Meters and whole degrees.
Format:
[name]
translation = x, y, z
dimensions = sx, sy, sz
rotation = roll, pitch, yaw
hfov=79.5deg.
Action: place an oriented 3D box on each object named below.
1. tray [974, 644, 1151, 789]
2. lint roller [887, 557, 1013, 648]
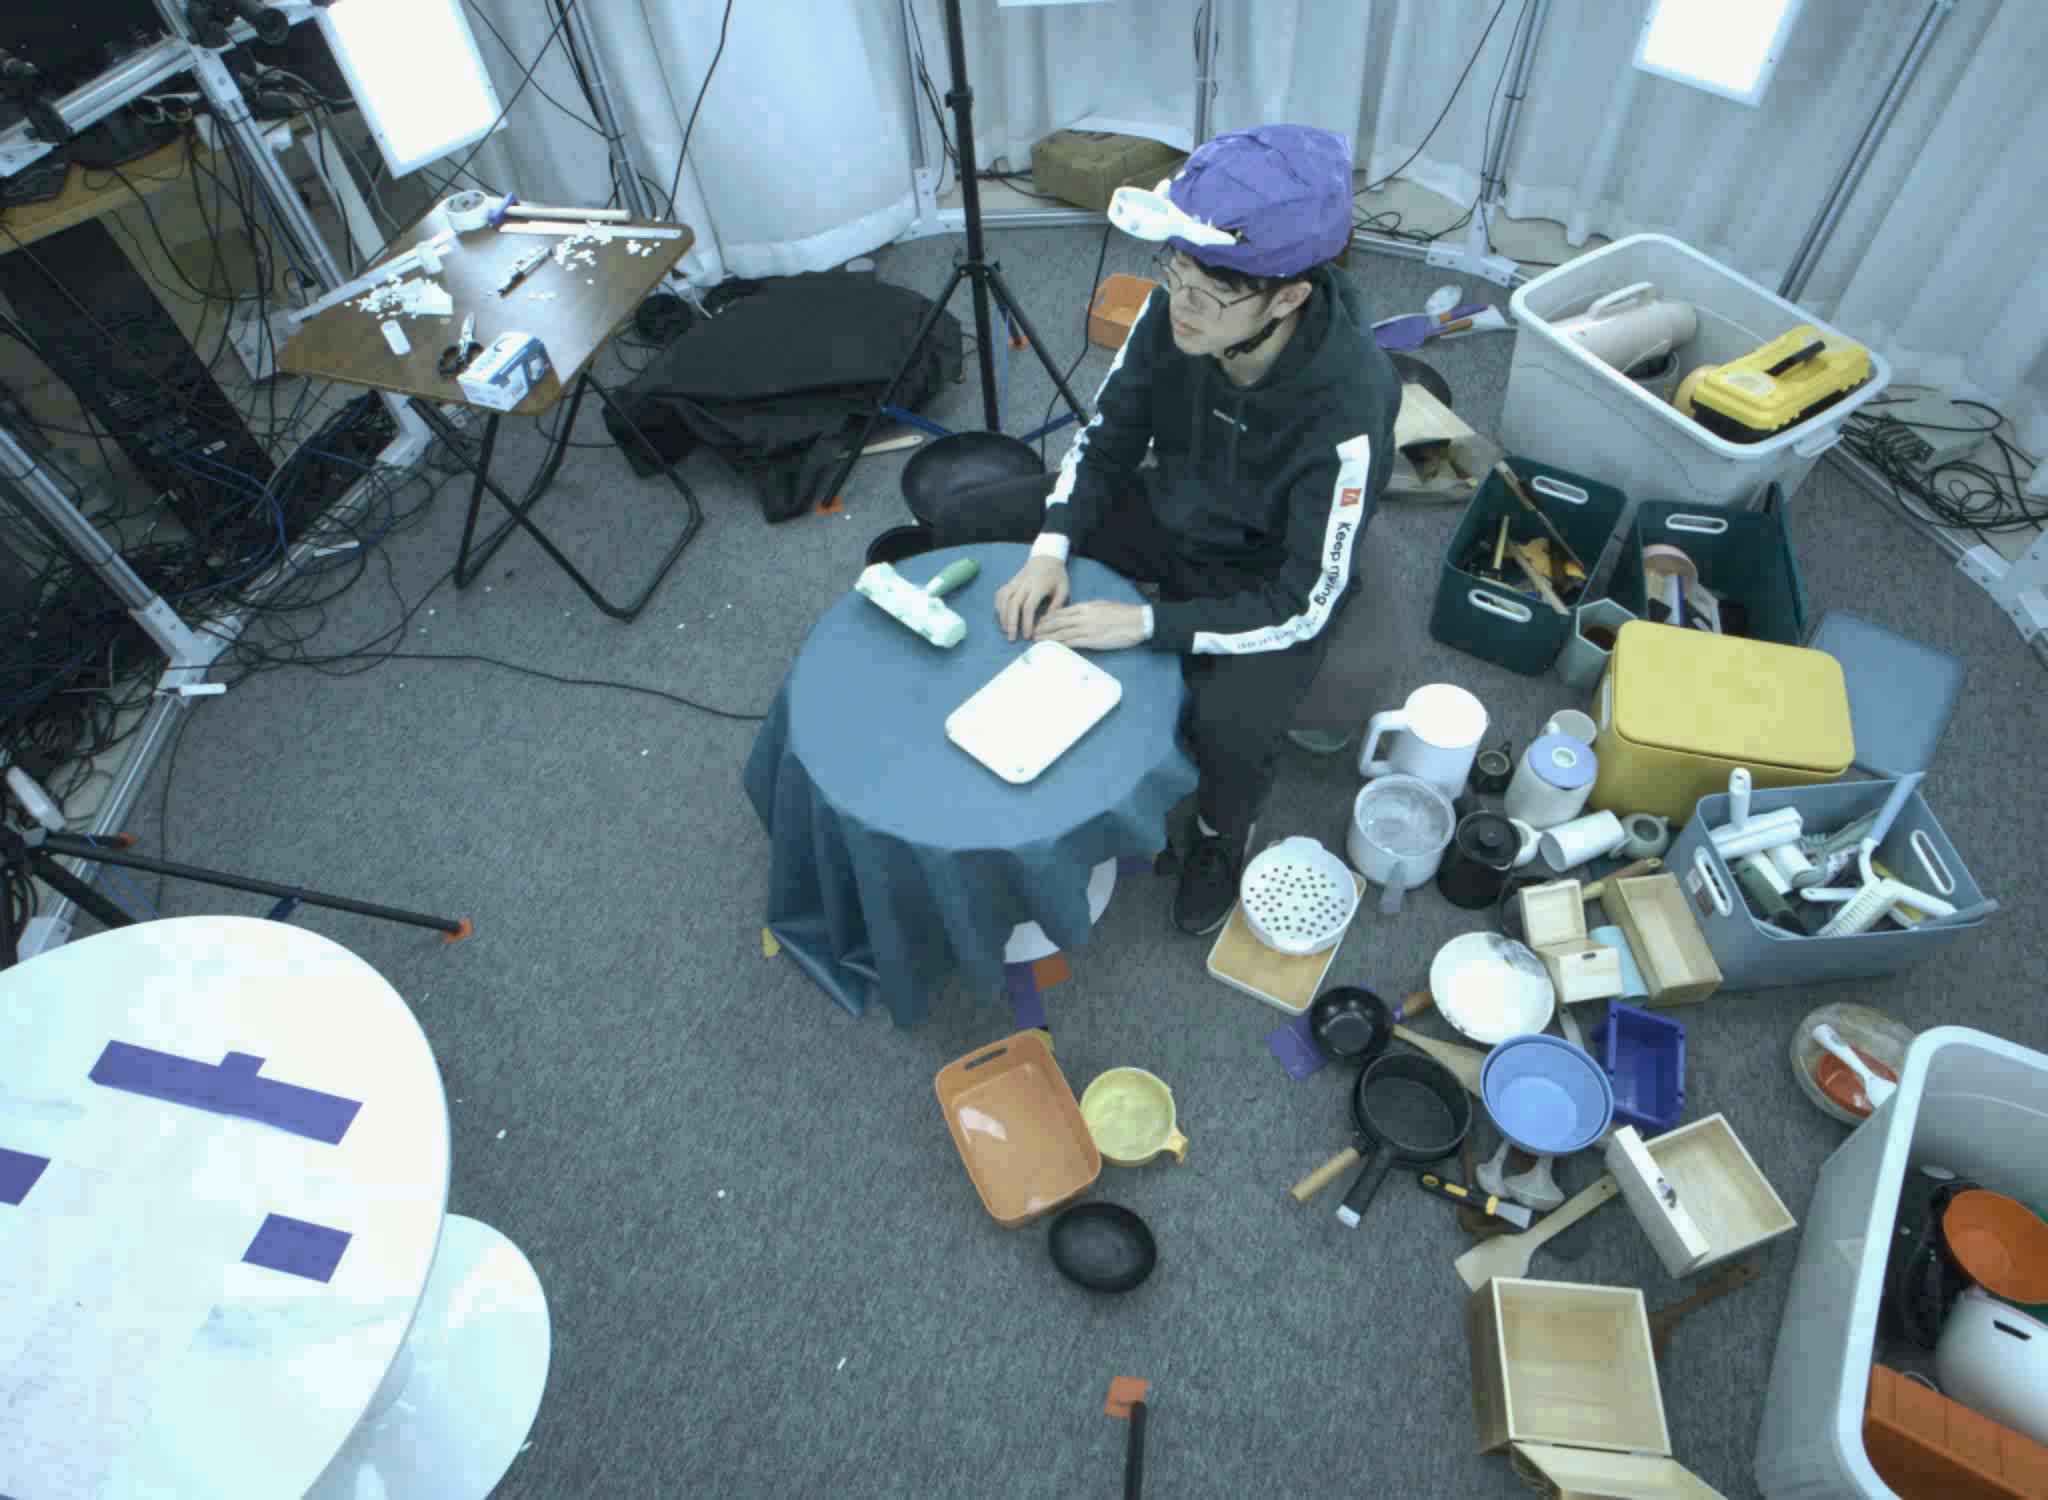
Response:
[tray]
translation = 0.058, -0.051, 1.806
dimensions = 0.168, 0.017, 0.241
rotation = 38, 64, 24
[lint roller]
translation = -0.090, -0.266, 1.927
dimensions = 0.195, 0.083, 0.184
rotation = 38, 68, 25
